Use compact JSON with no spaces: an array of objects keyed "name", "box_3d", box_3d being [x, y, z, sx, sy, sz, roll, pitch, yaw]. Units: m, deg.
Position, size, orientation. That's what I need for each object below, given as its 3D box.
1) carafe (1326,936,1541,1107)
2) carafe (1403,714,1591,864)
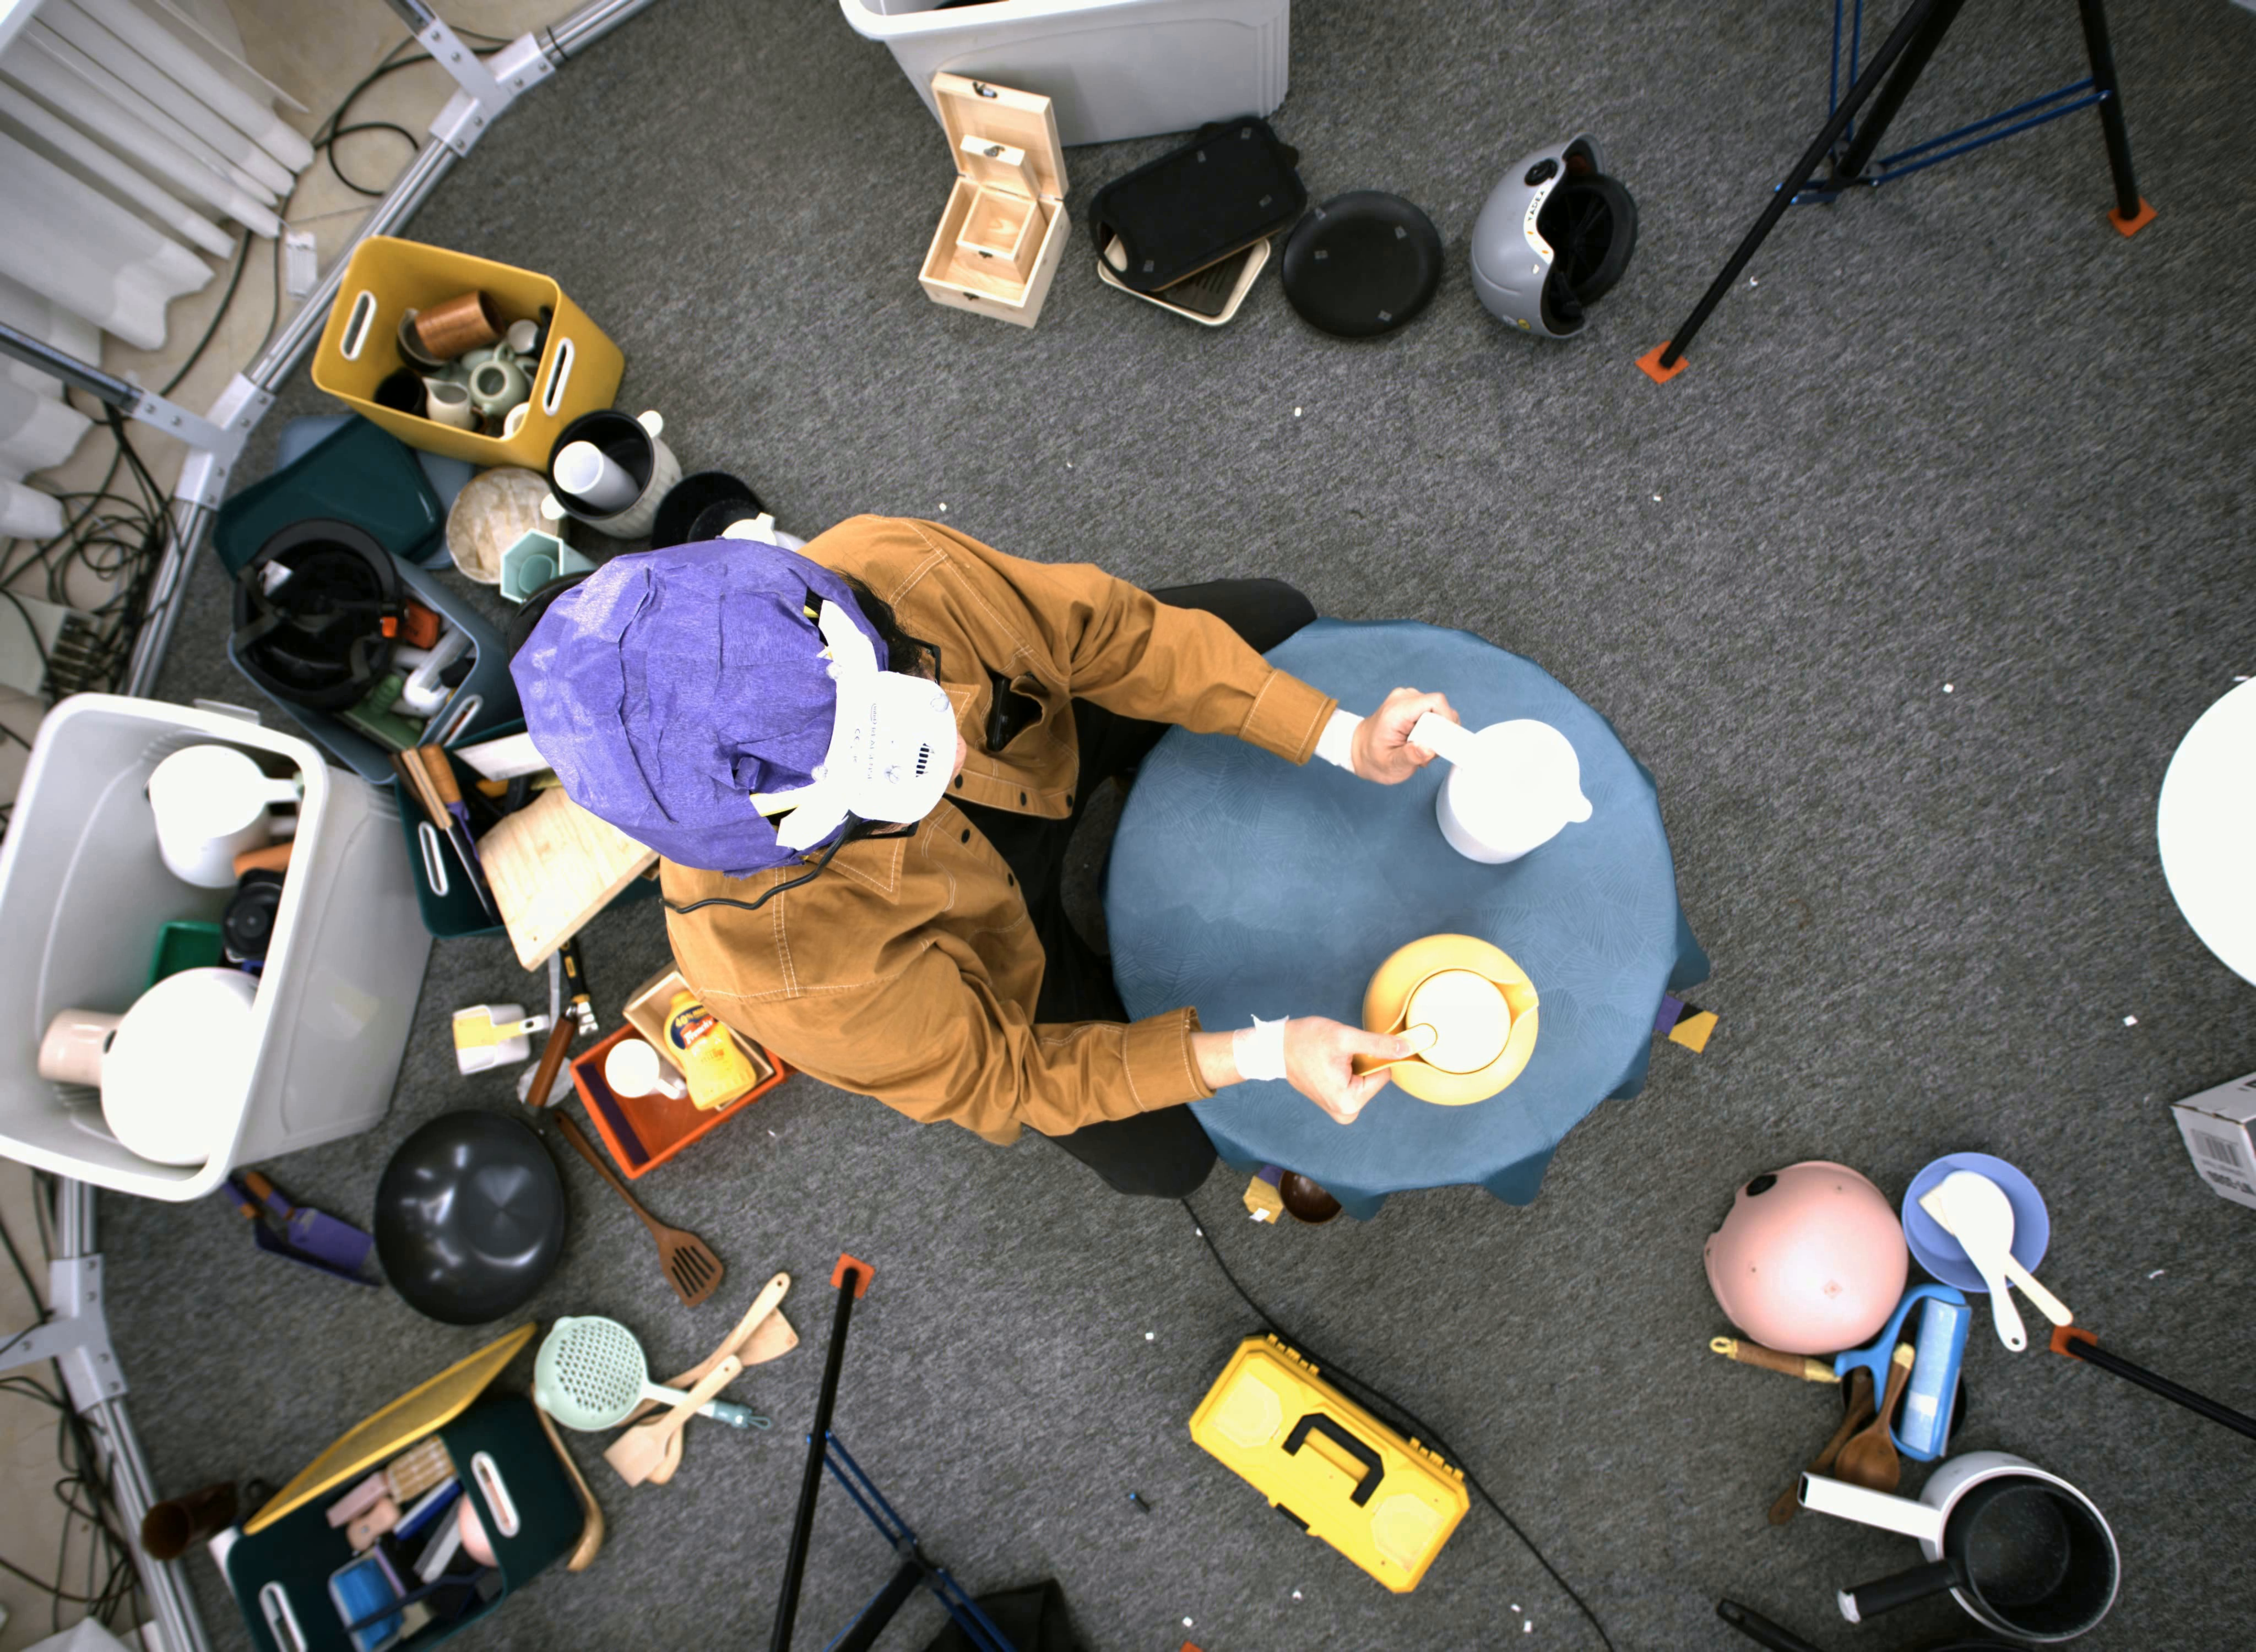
[{"name":"carafe","box_3d":[0.288,0.189,1.318,0.203,0.261,0.162,-20,79,6]},{"name":"carafe","box_3d":[0.345,-0.039,1.316,0.172,0.268,0.124,30,93,11]}]
